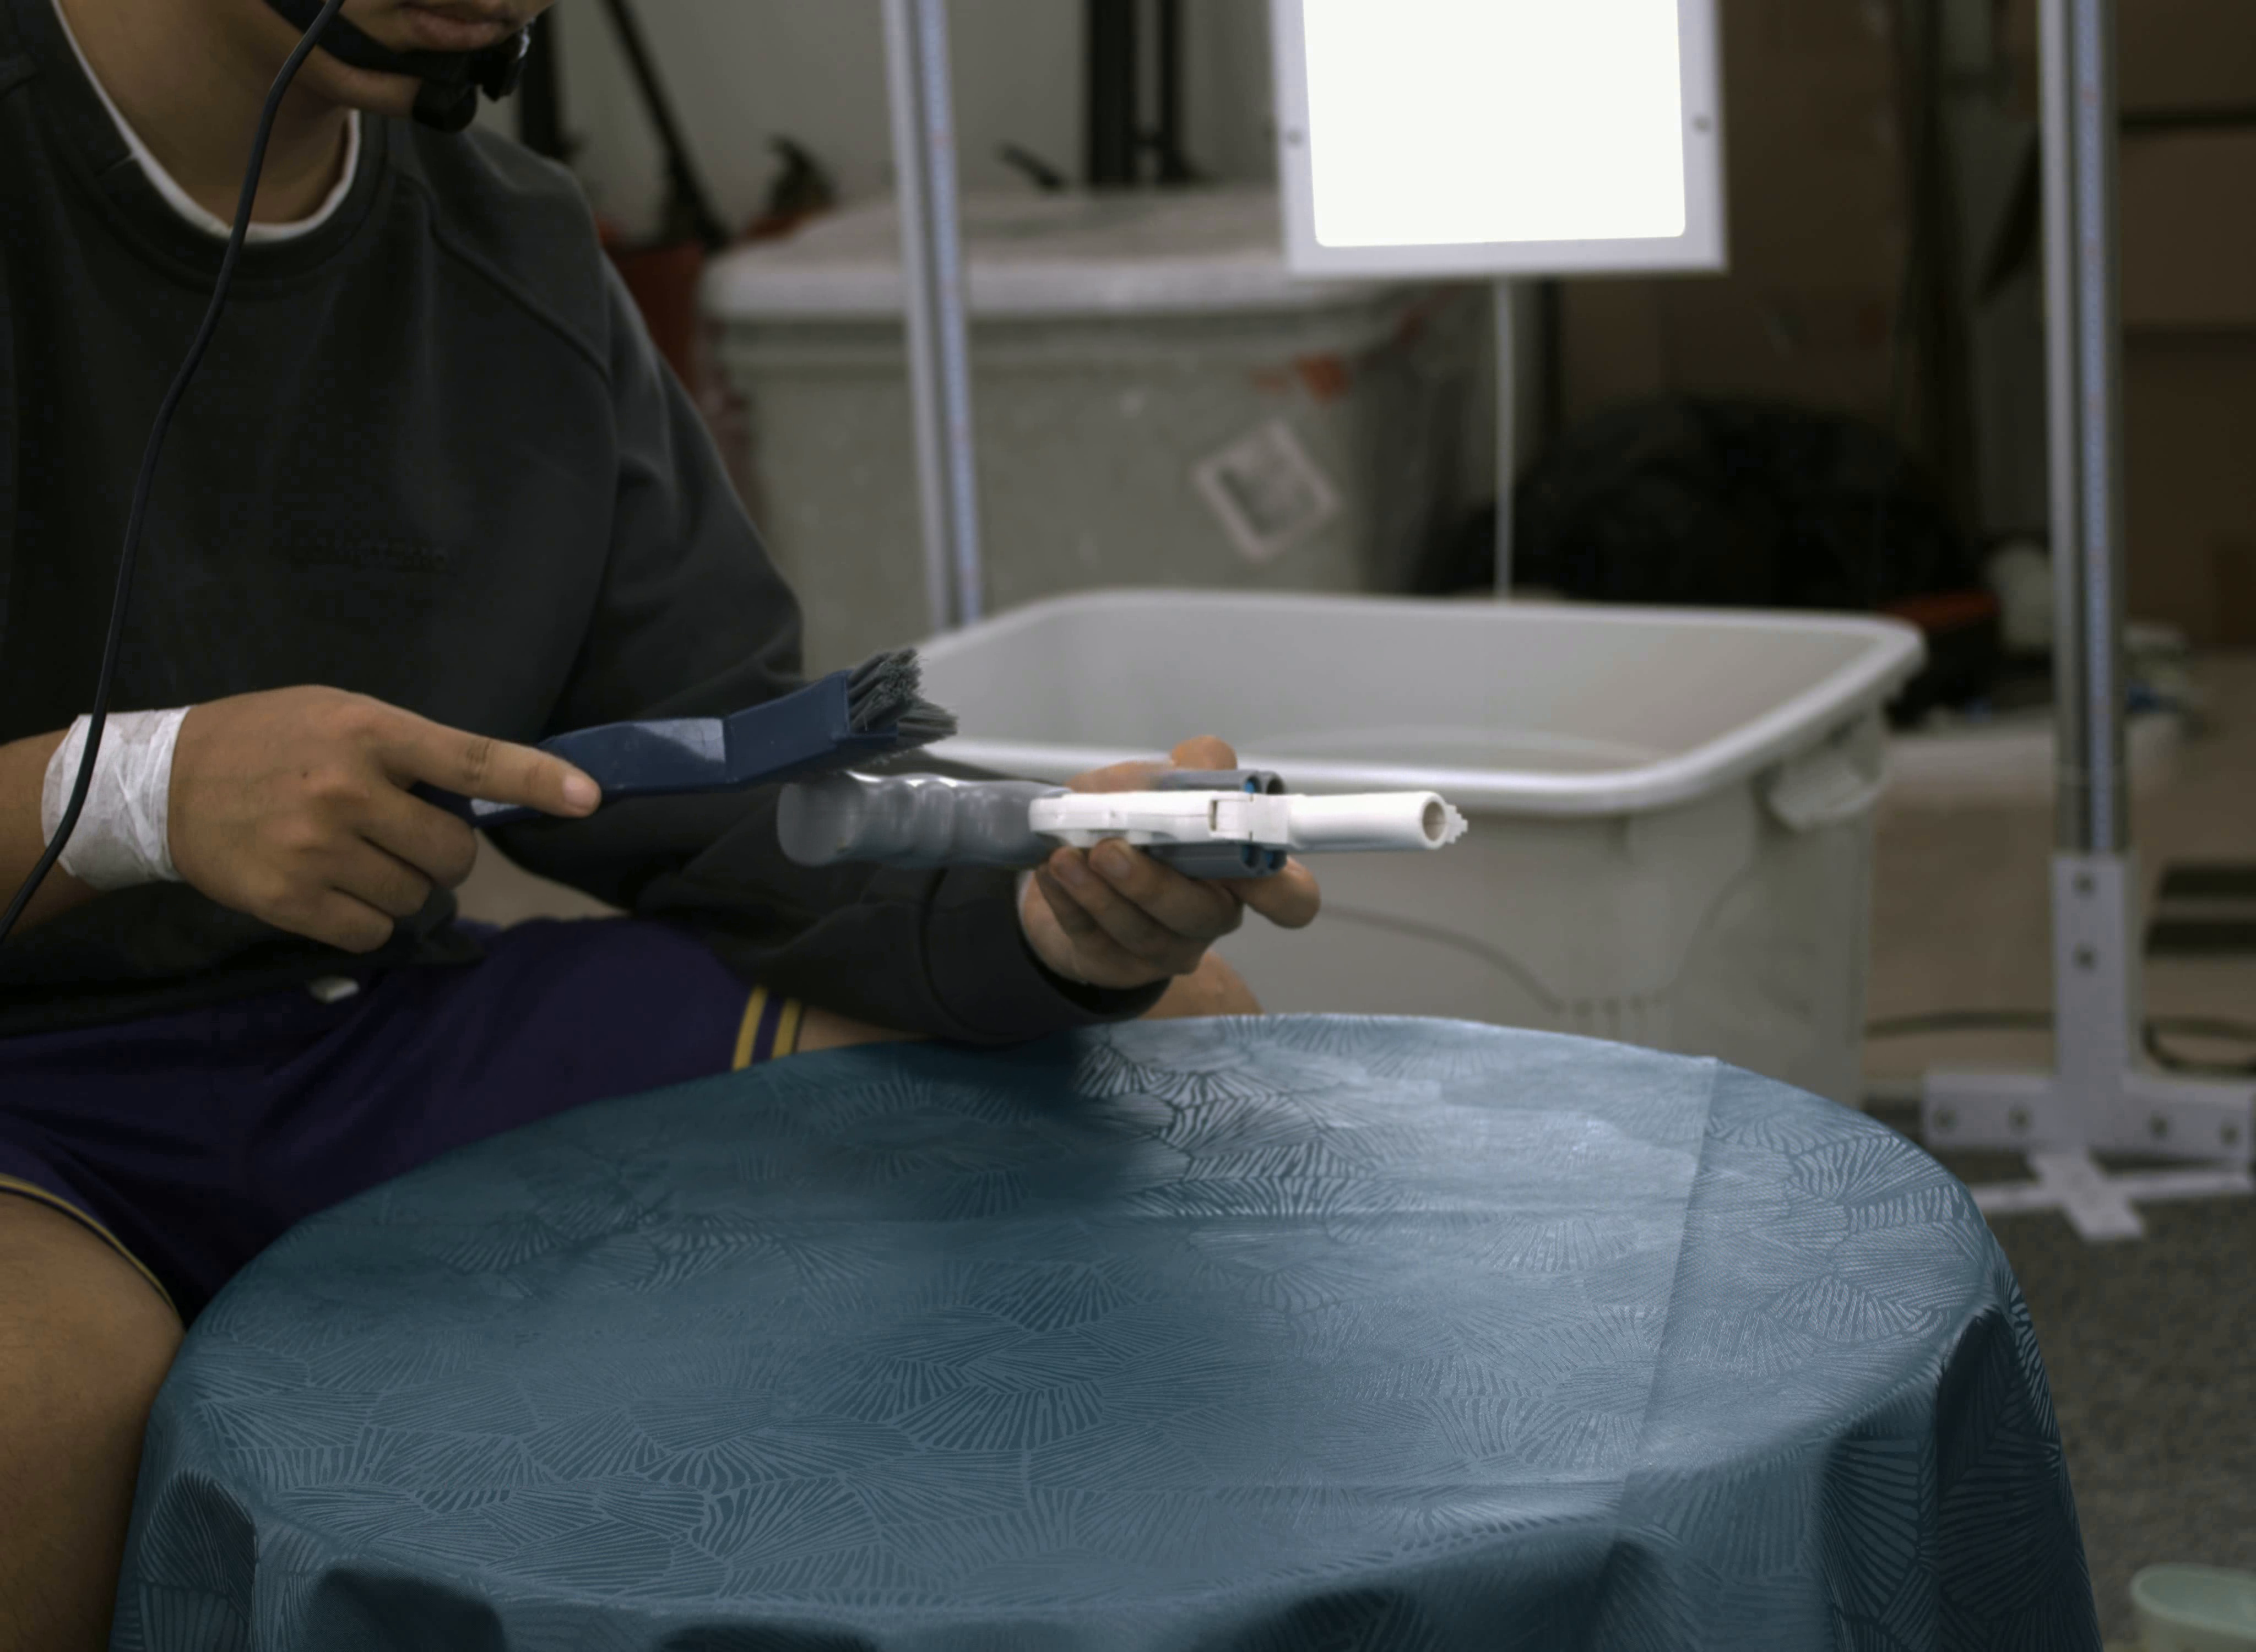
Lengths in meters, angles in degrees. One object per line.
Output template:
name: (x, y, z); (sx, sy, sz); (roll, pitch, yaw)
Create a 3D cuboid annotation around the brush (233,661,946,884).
brush: (-0.195, -0.020, 1.885); (0.276, 0.033, 0.094); (-9, -12, 18)

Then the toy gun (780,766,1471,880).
toy gun: (-0.003, -0.003, 1.901); (0.214, 0.039, 0.138); (-4, -7, 40)
